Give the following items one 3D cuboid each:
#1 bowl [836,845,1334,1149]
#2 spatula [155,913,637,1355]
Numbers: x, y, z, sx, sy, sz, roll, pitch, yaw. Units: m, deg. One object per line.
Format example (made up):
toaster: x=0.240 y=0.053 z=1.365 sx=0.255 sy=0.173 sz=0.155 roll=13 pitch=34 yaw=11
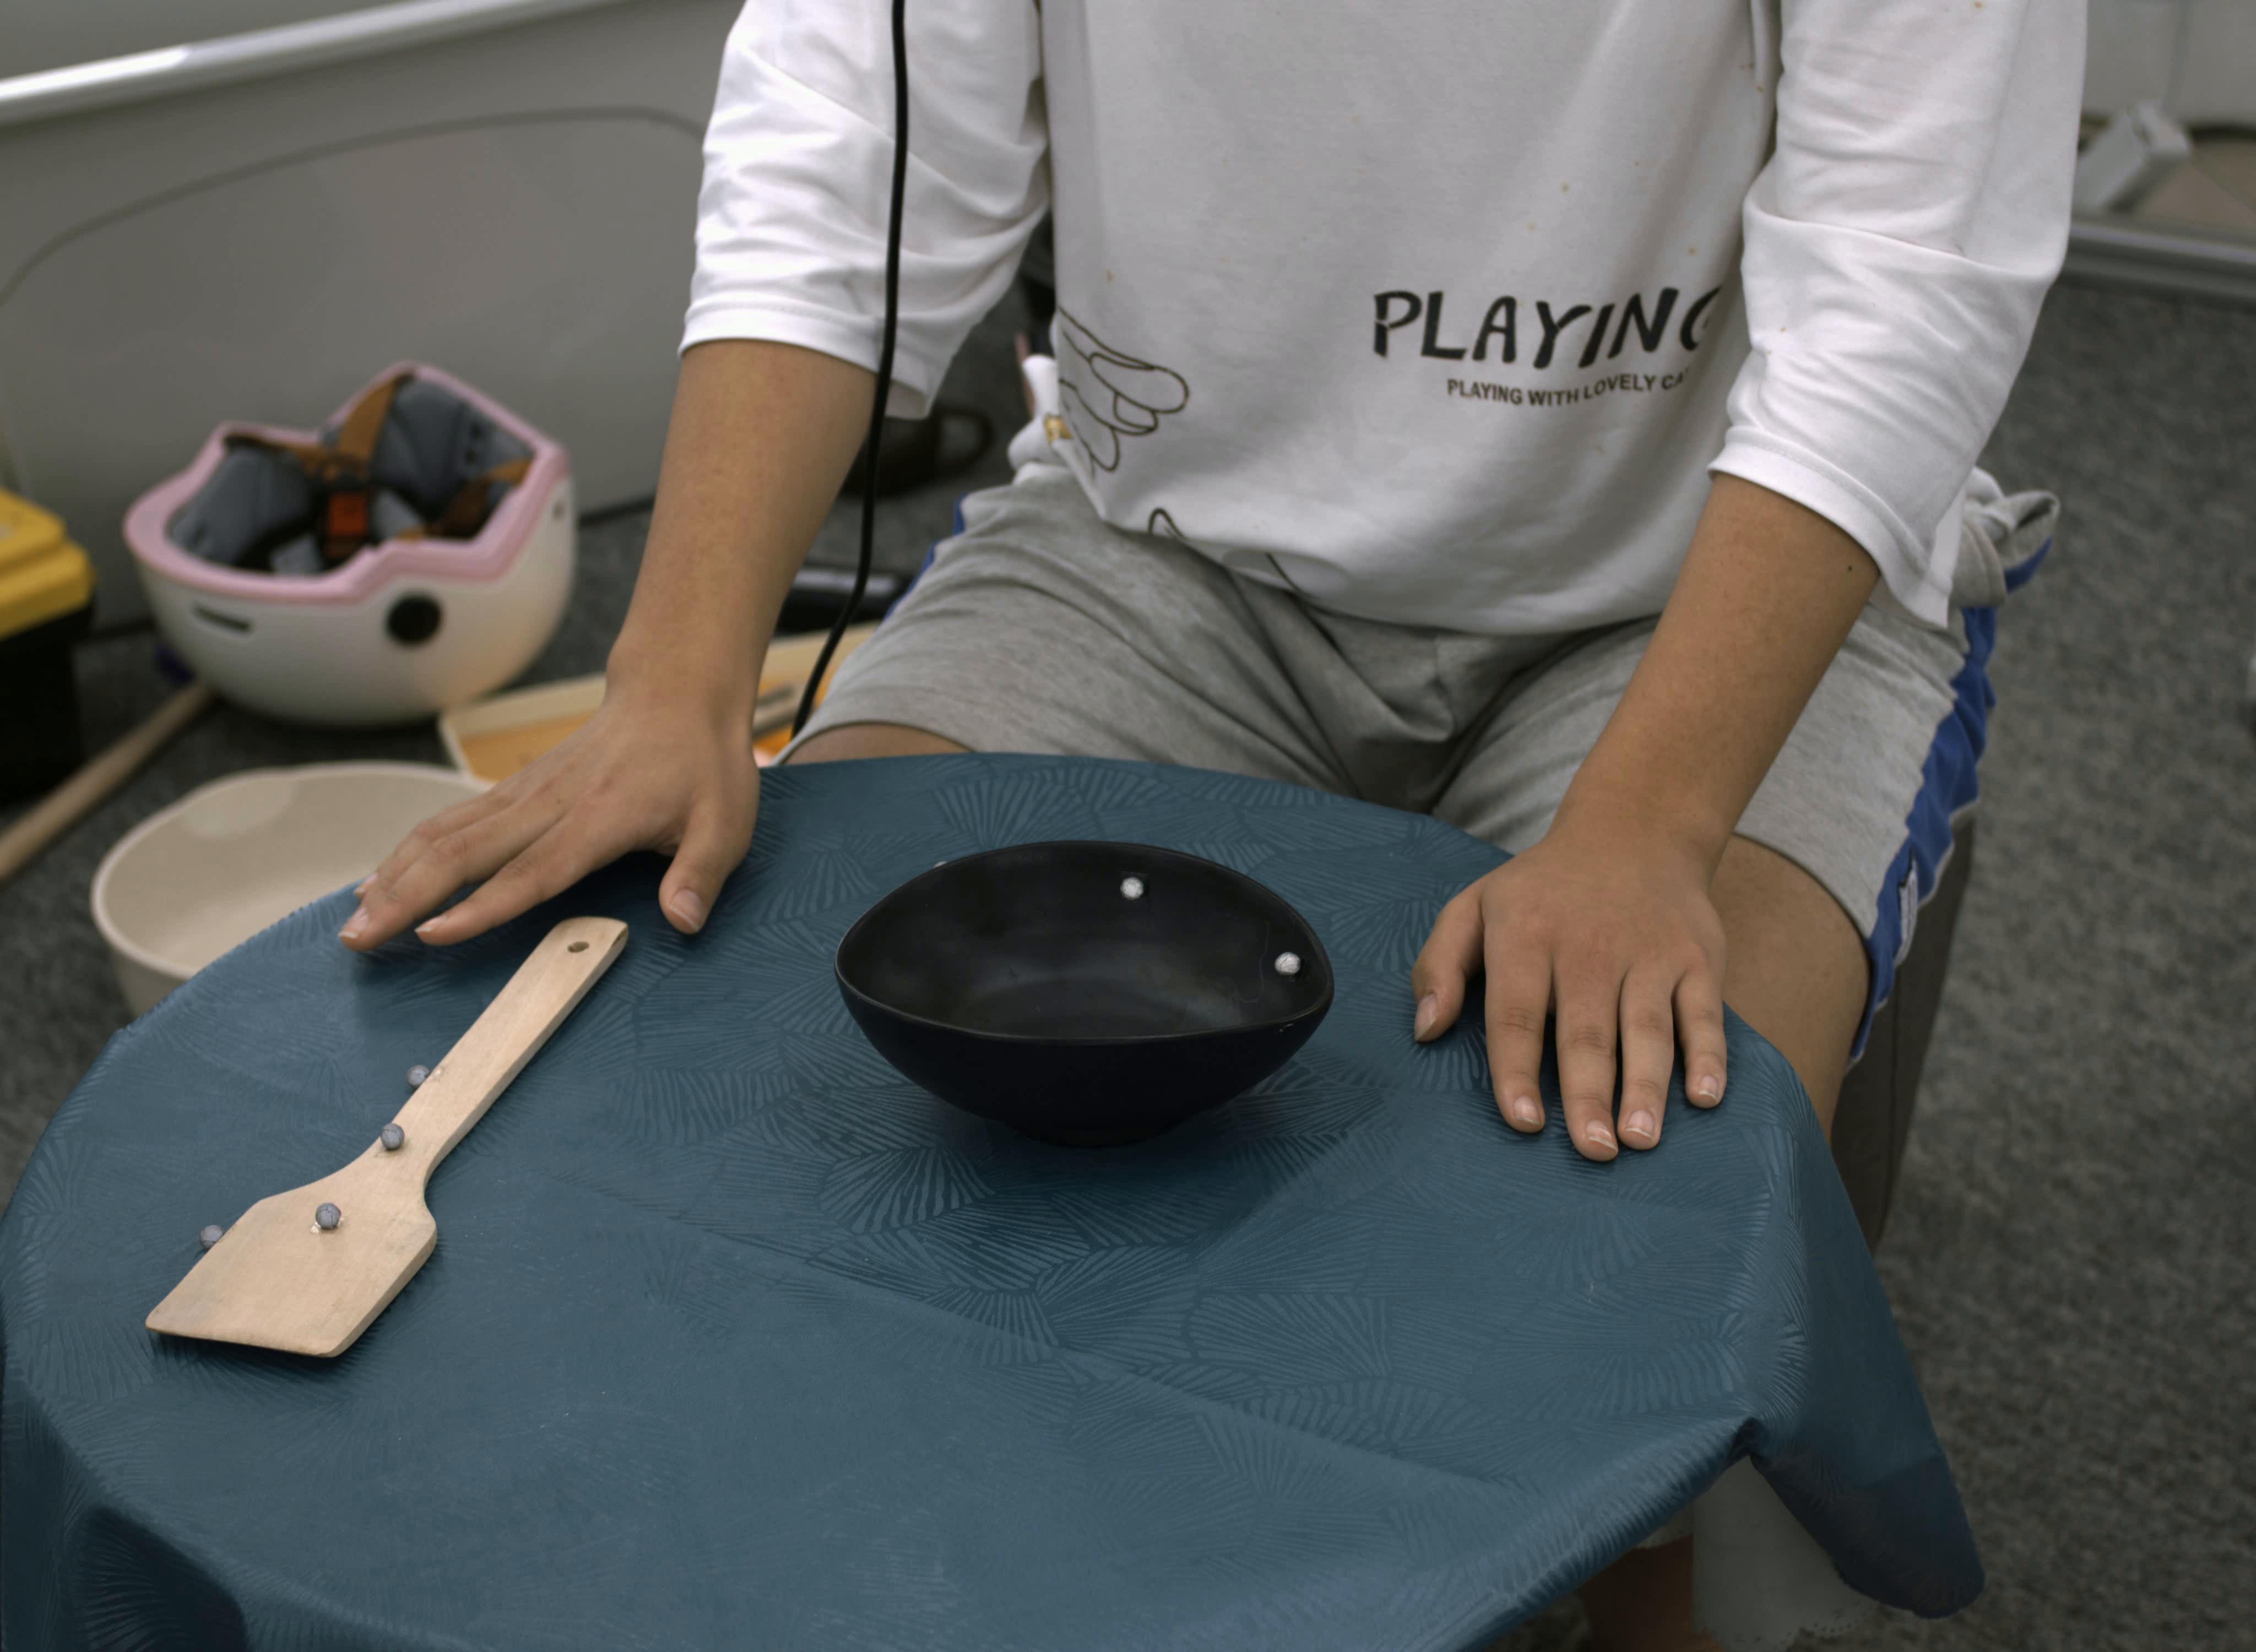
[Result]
bowl: x=-0.014 y=0.065 z=1.907 sx=0.169 sy=0.066 sz=0.139 roll=3 pitch=27 yaw=6
spatula: x=-0.236 y=0.101 z=1.915 sx=0.072 sy=0.010 sz=0.298 roll=5 pitch=29 yaw=18
